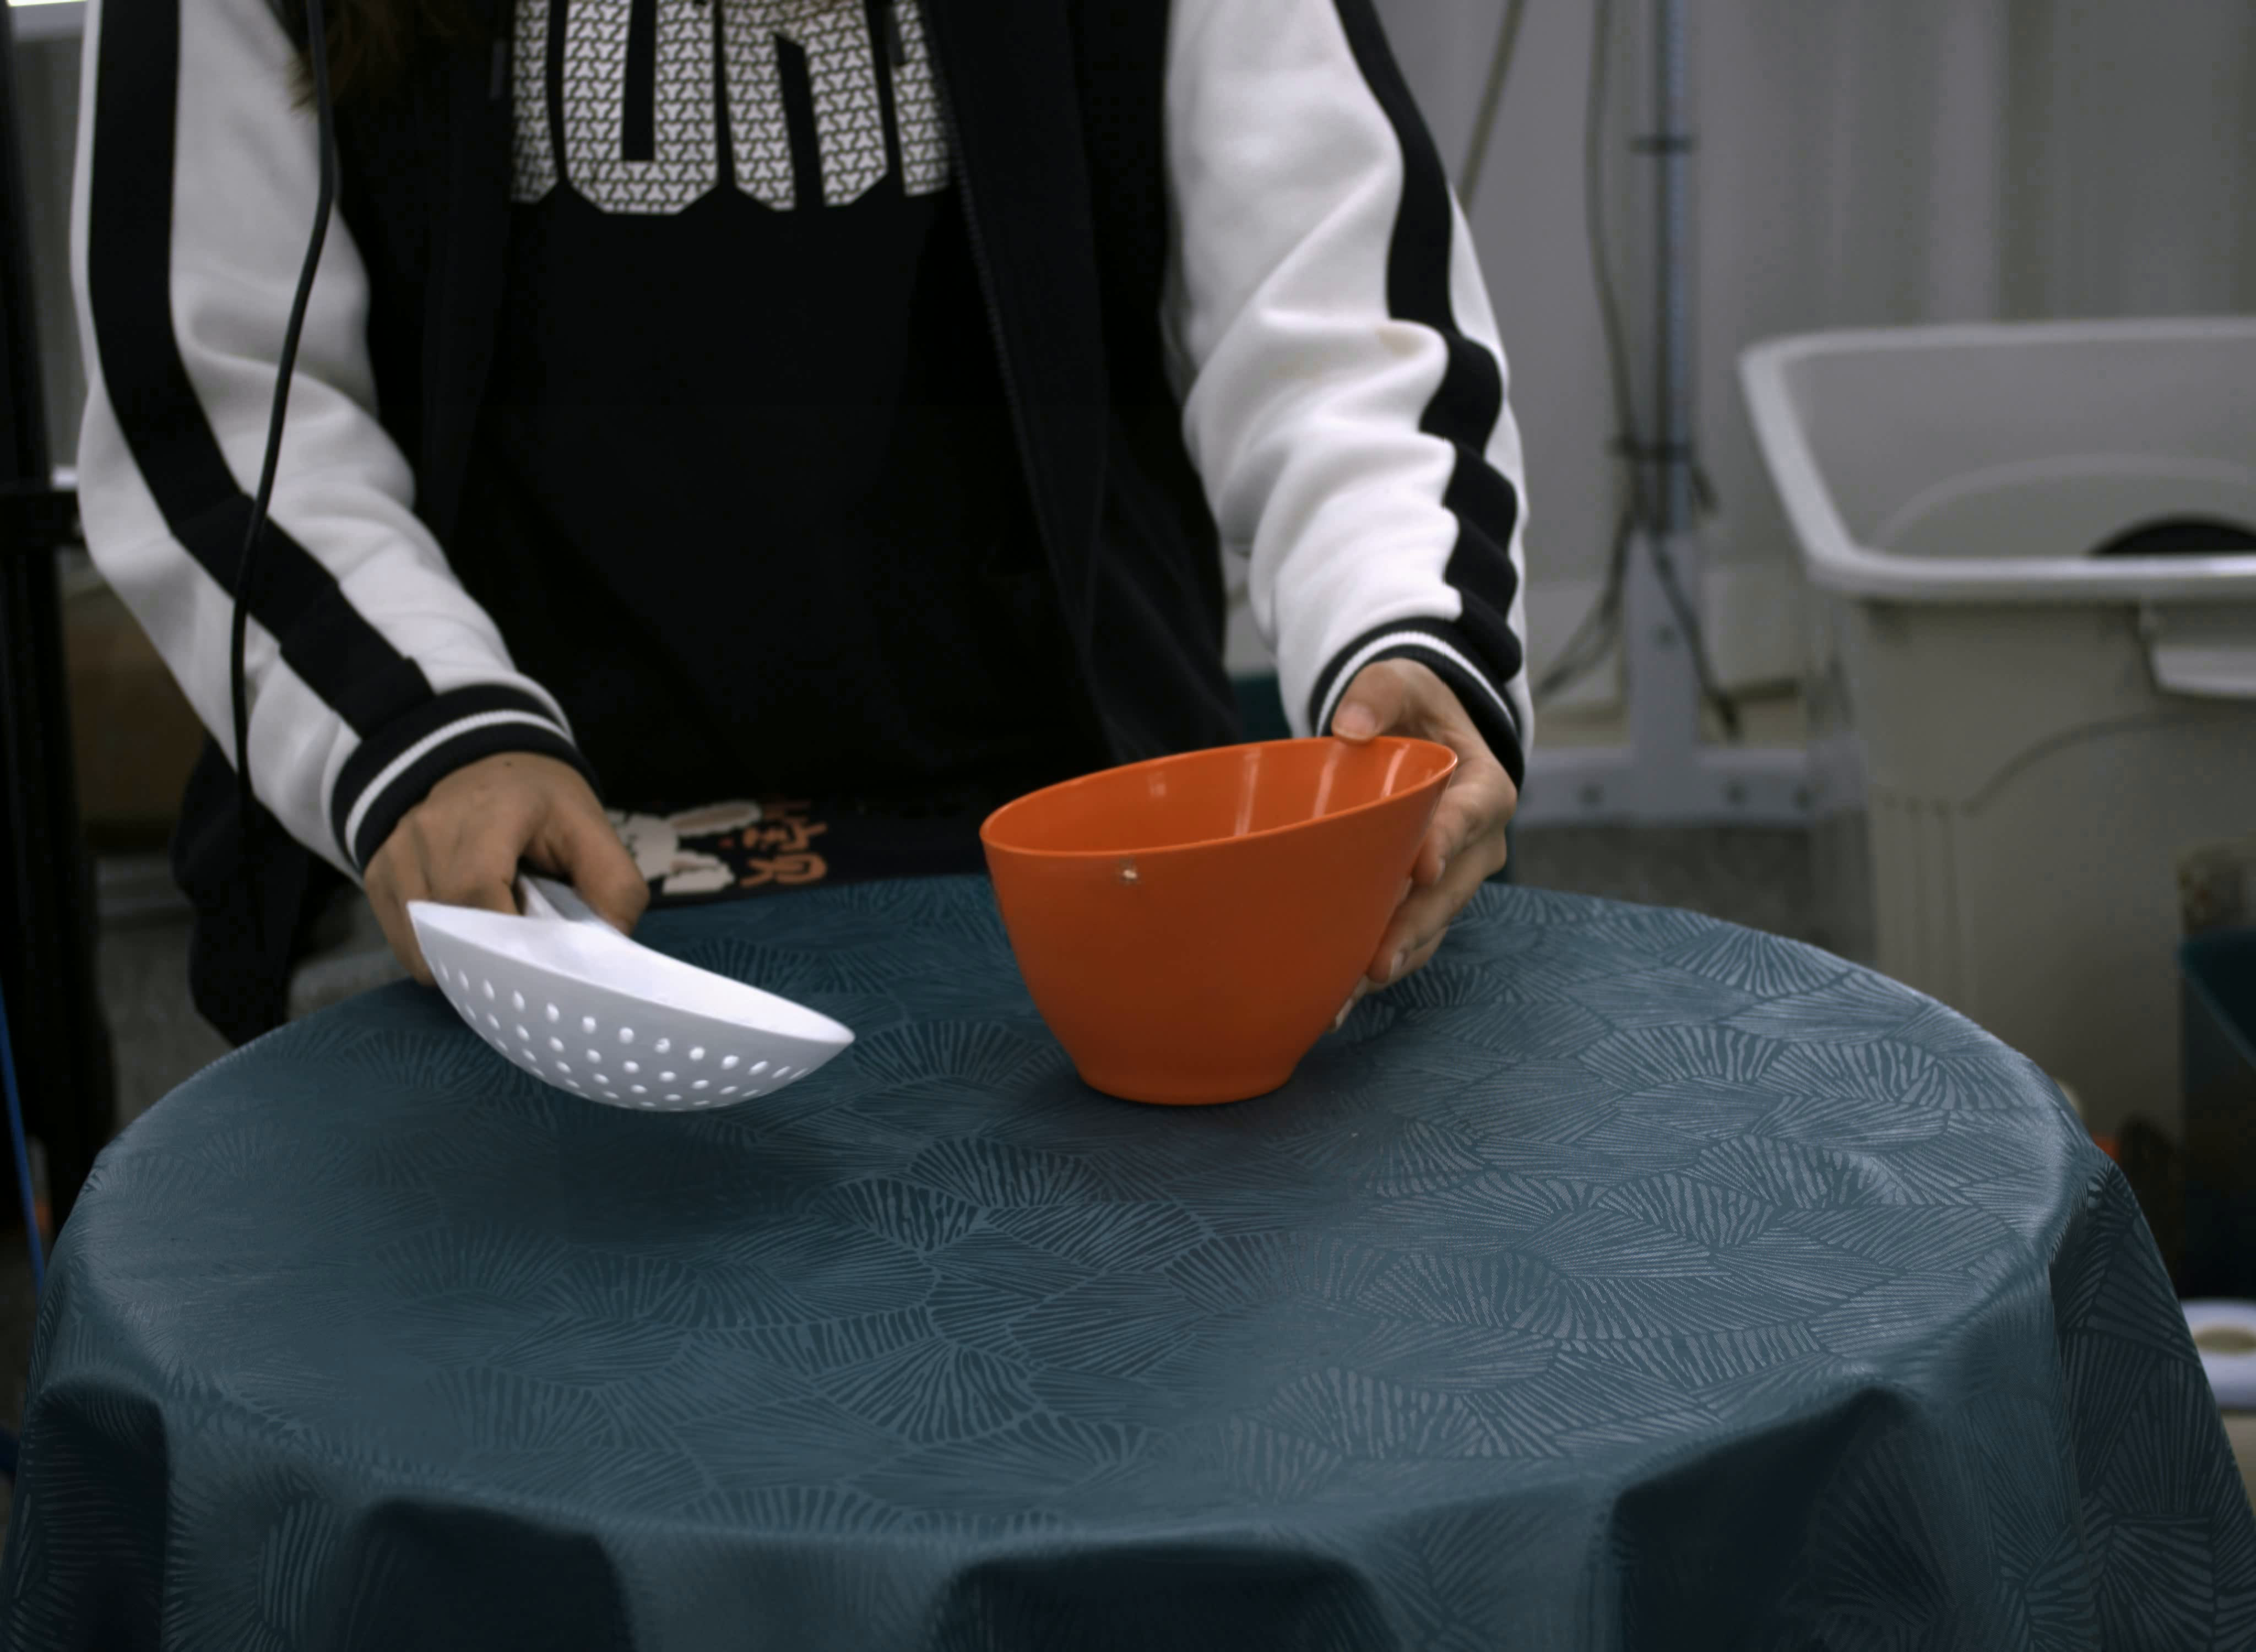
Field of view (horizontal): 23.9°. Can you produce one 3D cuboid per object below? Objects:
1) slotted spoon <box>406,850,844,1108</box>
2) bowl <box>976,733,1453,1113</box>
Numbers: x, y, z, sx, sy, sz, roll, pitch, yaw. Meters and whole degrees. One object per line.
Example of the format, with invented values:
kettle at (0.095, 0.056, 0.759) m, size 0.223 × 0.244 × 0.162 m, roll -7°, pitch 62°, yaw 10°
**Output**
slotted spoon at (-0.171, 0.036, 1.665) m, size 0.134 × 0.046 × 0.353 m, roll 19°, pitch 7°, yaw -13°
bowl at (0.027, 0.031, 1.640) m, size 0.147 × 0.104 × 0.149 m, roll -2°, pitch 17°, yaw -1°
